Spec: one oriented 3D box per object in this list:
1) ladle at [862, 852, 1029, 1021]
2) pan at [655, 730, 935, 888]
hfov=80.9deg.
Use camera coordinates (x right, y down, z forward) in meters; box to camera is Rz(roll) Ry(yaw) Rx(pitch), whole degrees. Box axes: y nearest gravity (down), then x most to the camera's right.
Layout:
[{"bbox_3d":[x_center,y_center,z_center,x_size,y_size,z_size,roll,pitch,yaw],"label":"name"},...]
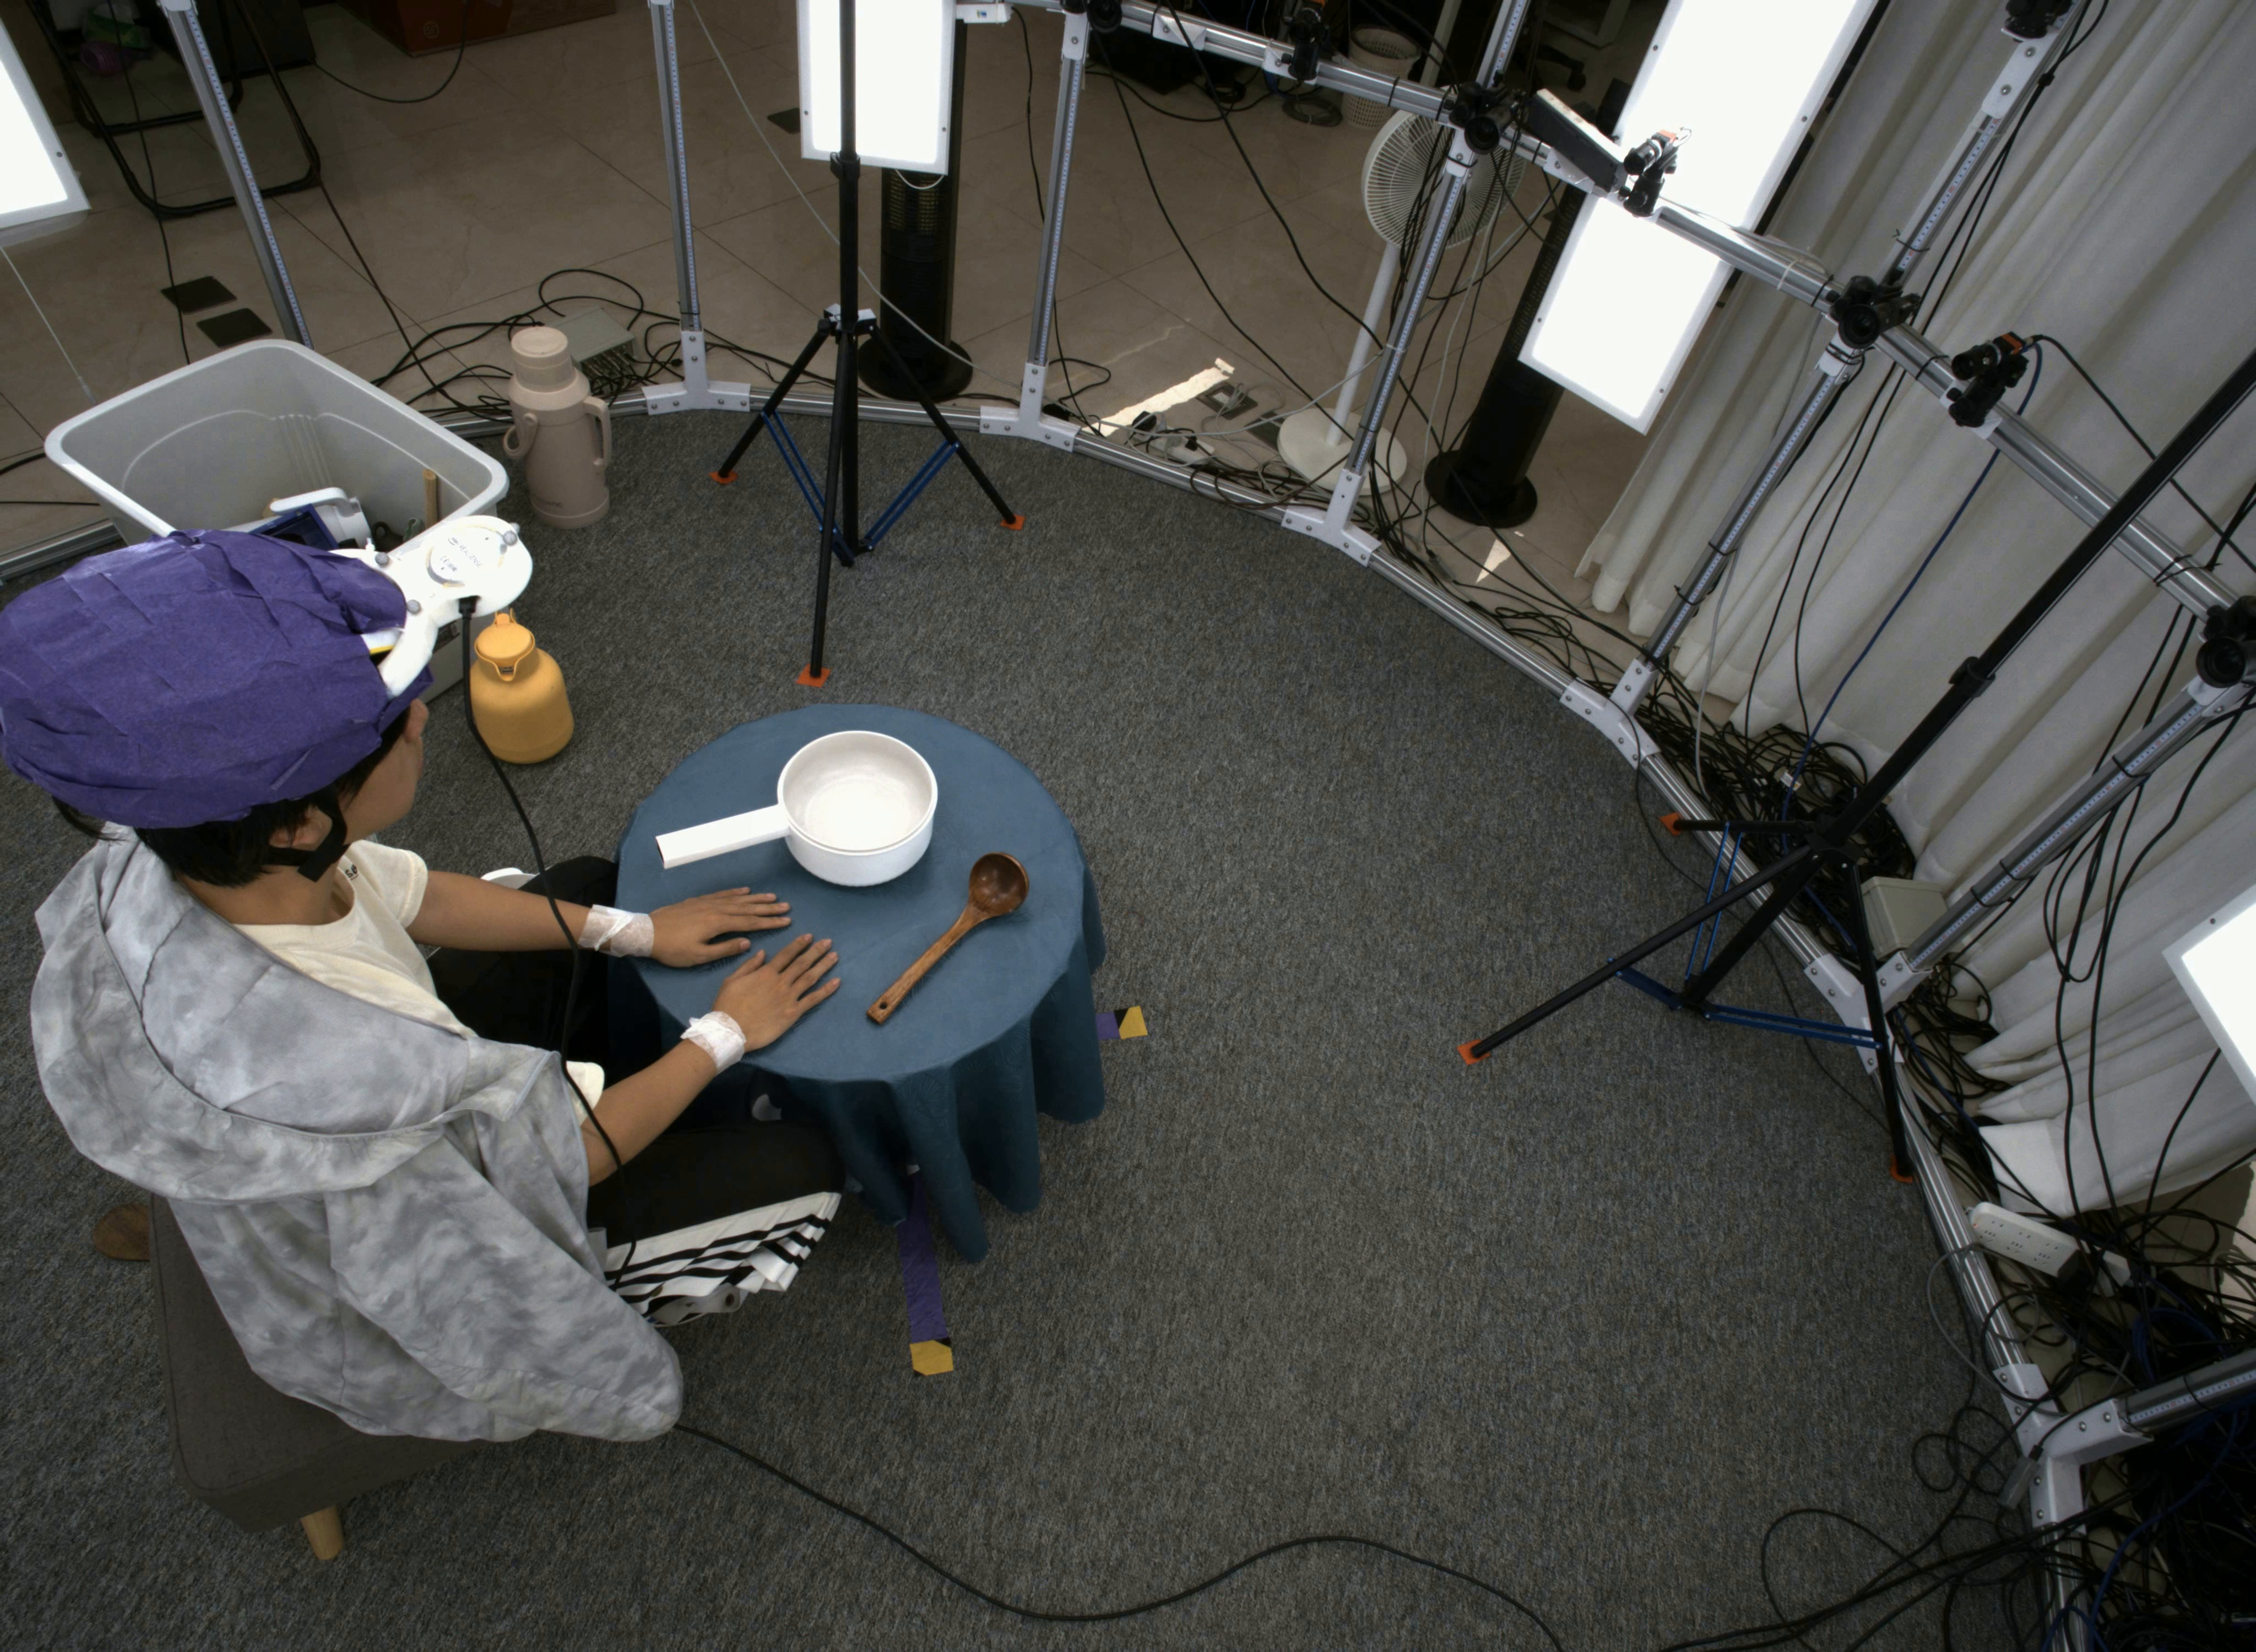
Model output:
[{"bbox_3d":[-0.226,0.134,1.624,0.080,0.078,0.274,36,53,14],"label":"ladle"},{"bbox_3d":[-0.420,0.003,1.661,0.356,0.104,0.196,-17,60,-24],"label":"pan"}]
